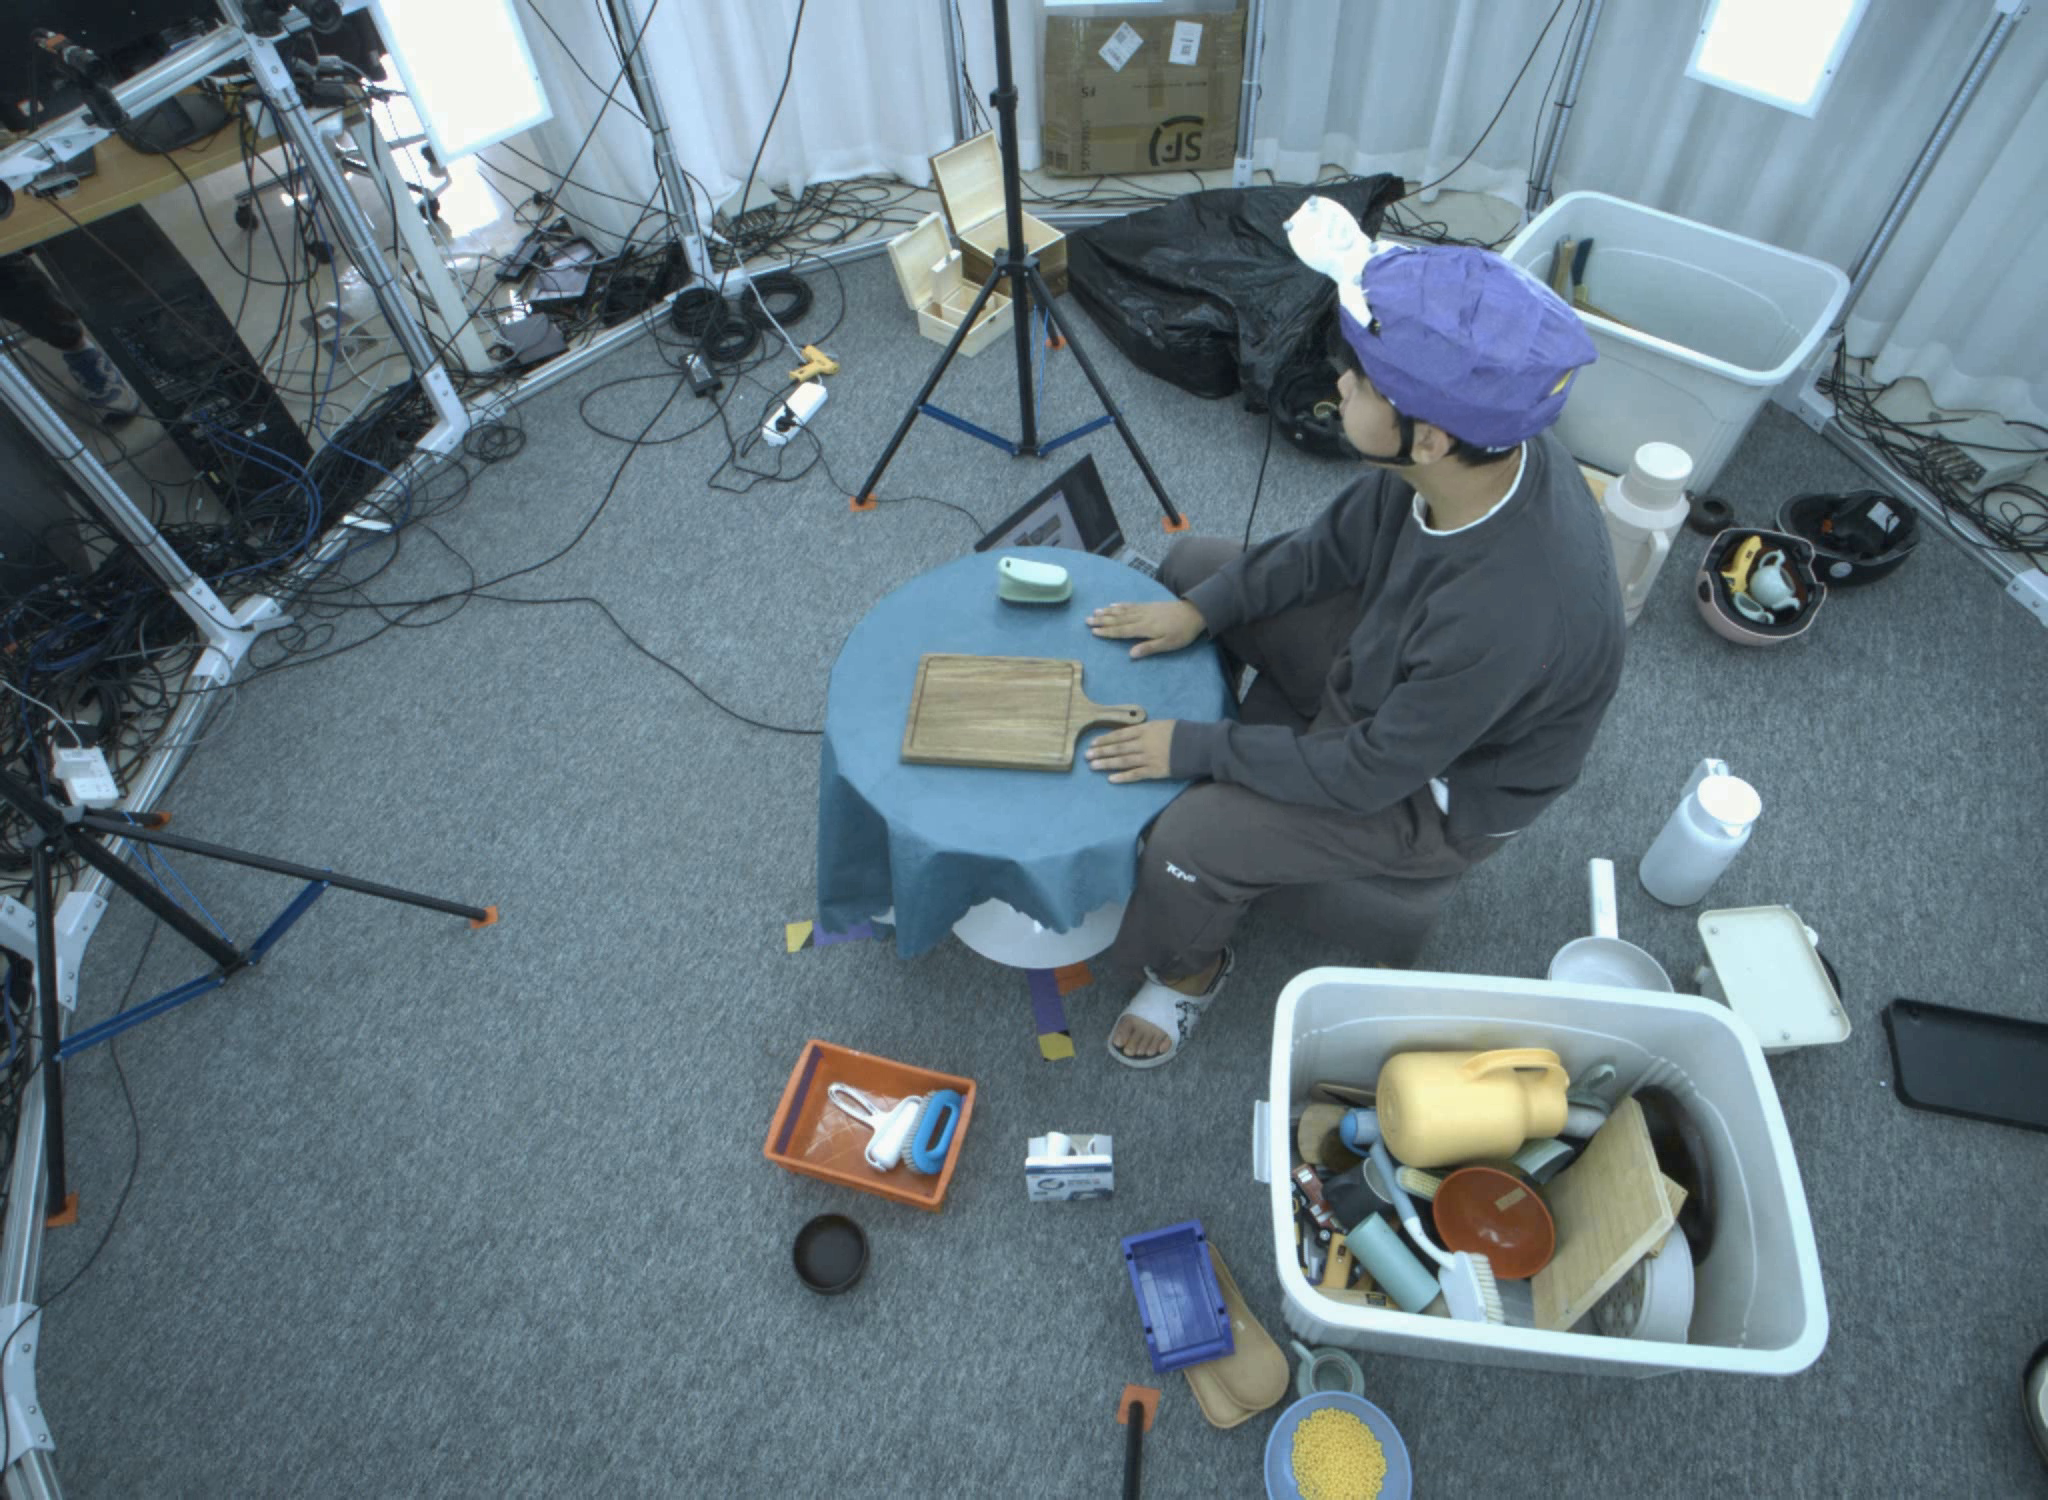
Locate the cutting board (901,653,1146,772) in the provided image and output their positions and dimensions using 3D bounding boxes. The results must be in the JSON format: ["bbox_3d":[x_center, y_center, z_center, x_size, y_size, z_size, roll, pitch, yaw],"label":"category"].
[{"bbox_3d":[0.004,-0.055,1.814,0.351,0.023,0.199,4,55,4],"label":"cutting board"}]

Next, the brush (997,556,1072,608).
[{"bbox_3d":[0.013,-0.262,1.940,0.124,0.076,0.059,10,55,-8],"label":"brush"}]
